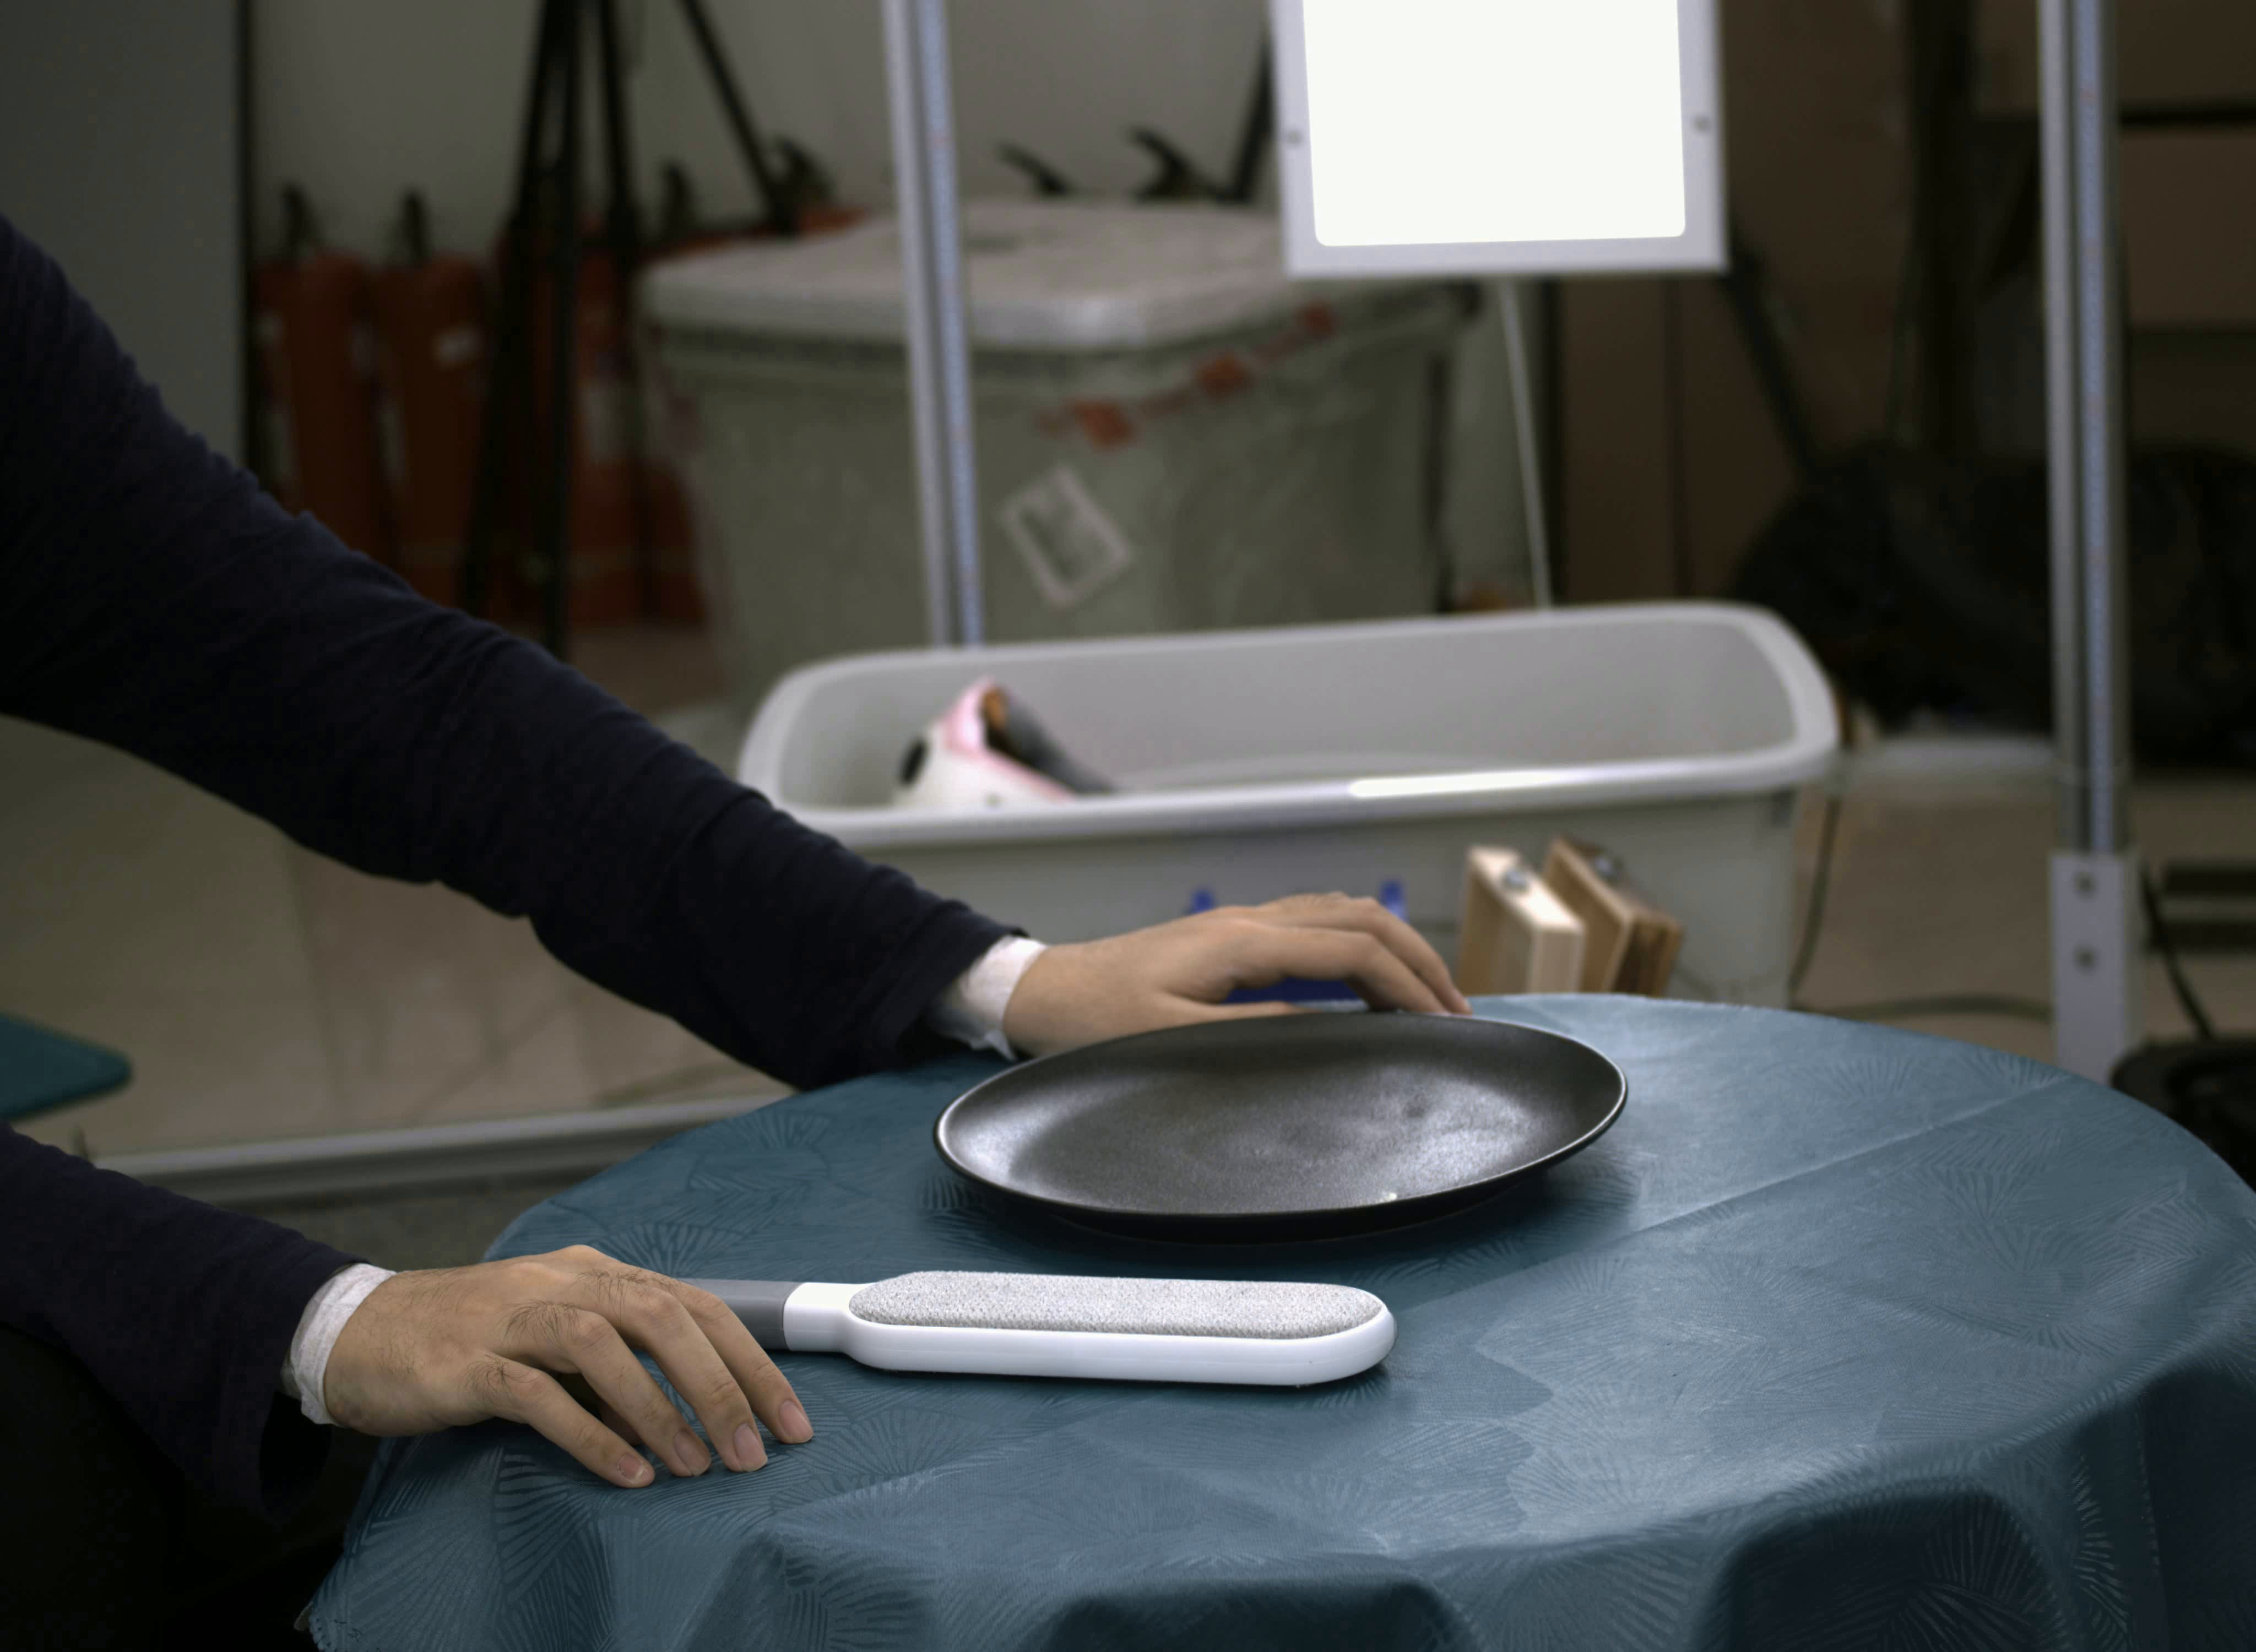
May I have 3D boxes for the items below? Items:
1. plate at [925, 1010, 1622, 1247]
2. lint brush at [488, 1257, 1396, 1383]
[{"bbox_3d":[0.051,0.107,1.914,0.244,0.023,0.244,-5,14,0],"label":"plate"},{"bbox_3d":[-0.064,0.154,1.757,0.313,0.021,0.059,0,20,23],"label":"lint brush"}]
